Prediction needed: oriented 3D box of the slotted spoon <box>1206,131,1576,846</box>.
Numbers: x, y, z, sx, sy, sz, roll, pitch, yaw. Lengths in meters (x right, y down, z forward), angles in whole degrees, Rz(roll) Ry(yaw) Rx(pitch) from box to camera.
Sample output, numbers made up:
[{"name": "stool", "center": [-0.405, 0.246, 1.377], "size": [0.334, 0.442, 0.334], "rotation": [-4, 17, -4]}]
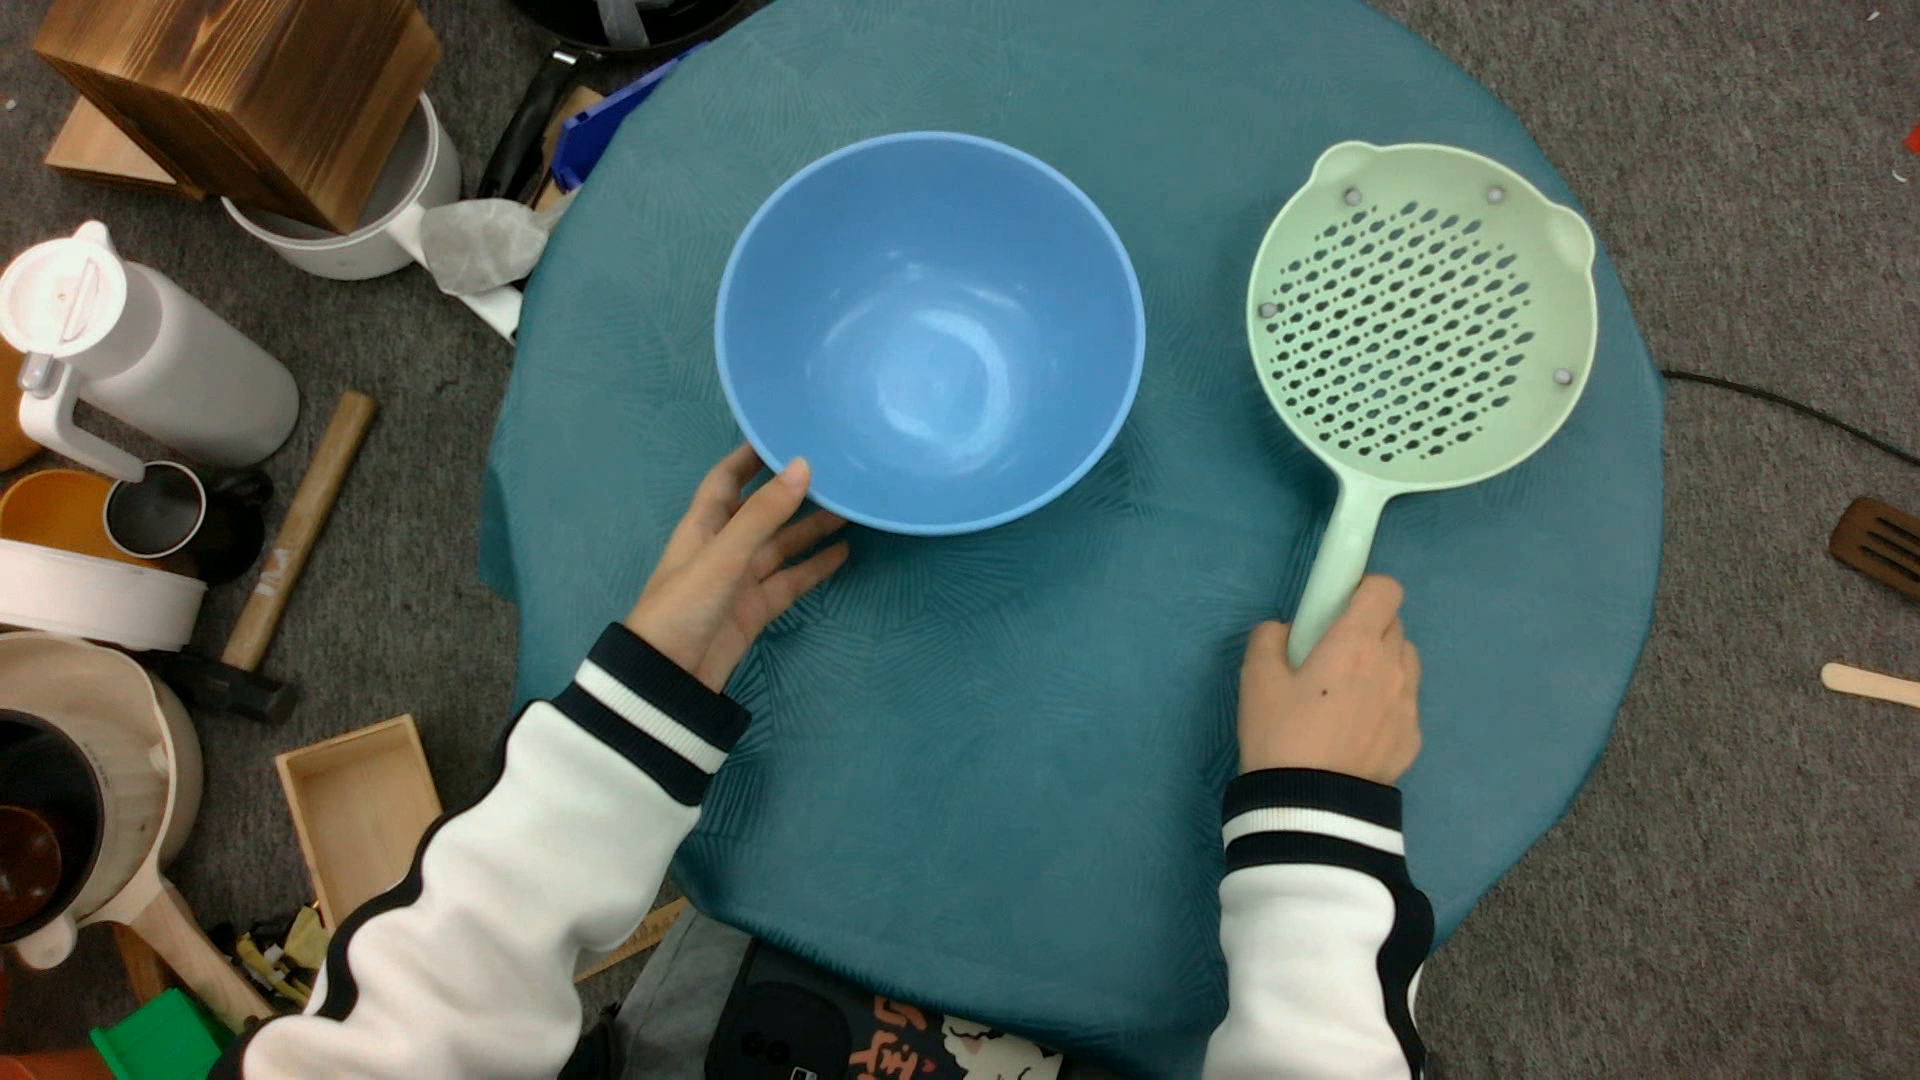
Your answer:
[{"name": "slotted spoon", "center": [0.186, -0.023, 0.677], "size": [0.169, 0.075, 0.359], "rotation": [19, 78, 2]}]

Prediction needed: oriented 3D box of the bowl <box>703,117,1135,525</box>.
[{"name": "bowl", "center": [-0.019, -0.093, 0.669], "size": [0.196, 0.095, 0.197], "rotation": [1, 77, -2]}]
